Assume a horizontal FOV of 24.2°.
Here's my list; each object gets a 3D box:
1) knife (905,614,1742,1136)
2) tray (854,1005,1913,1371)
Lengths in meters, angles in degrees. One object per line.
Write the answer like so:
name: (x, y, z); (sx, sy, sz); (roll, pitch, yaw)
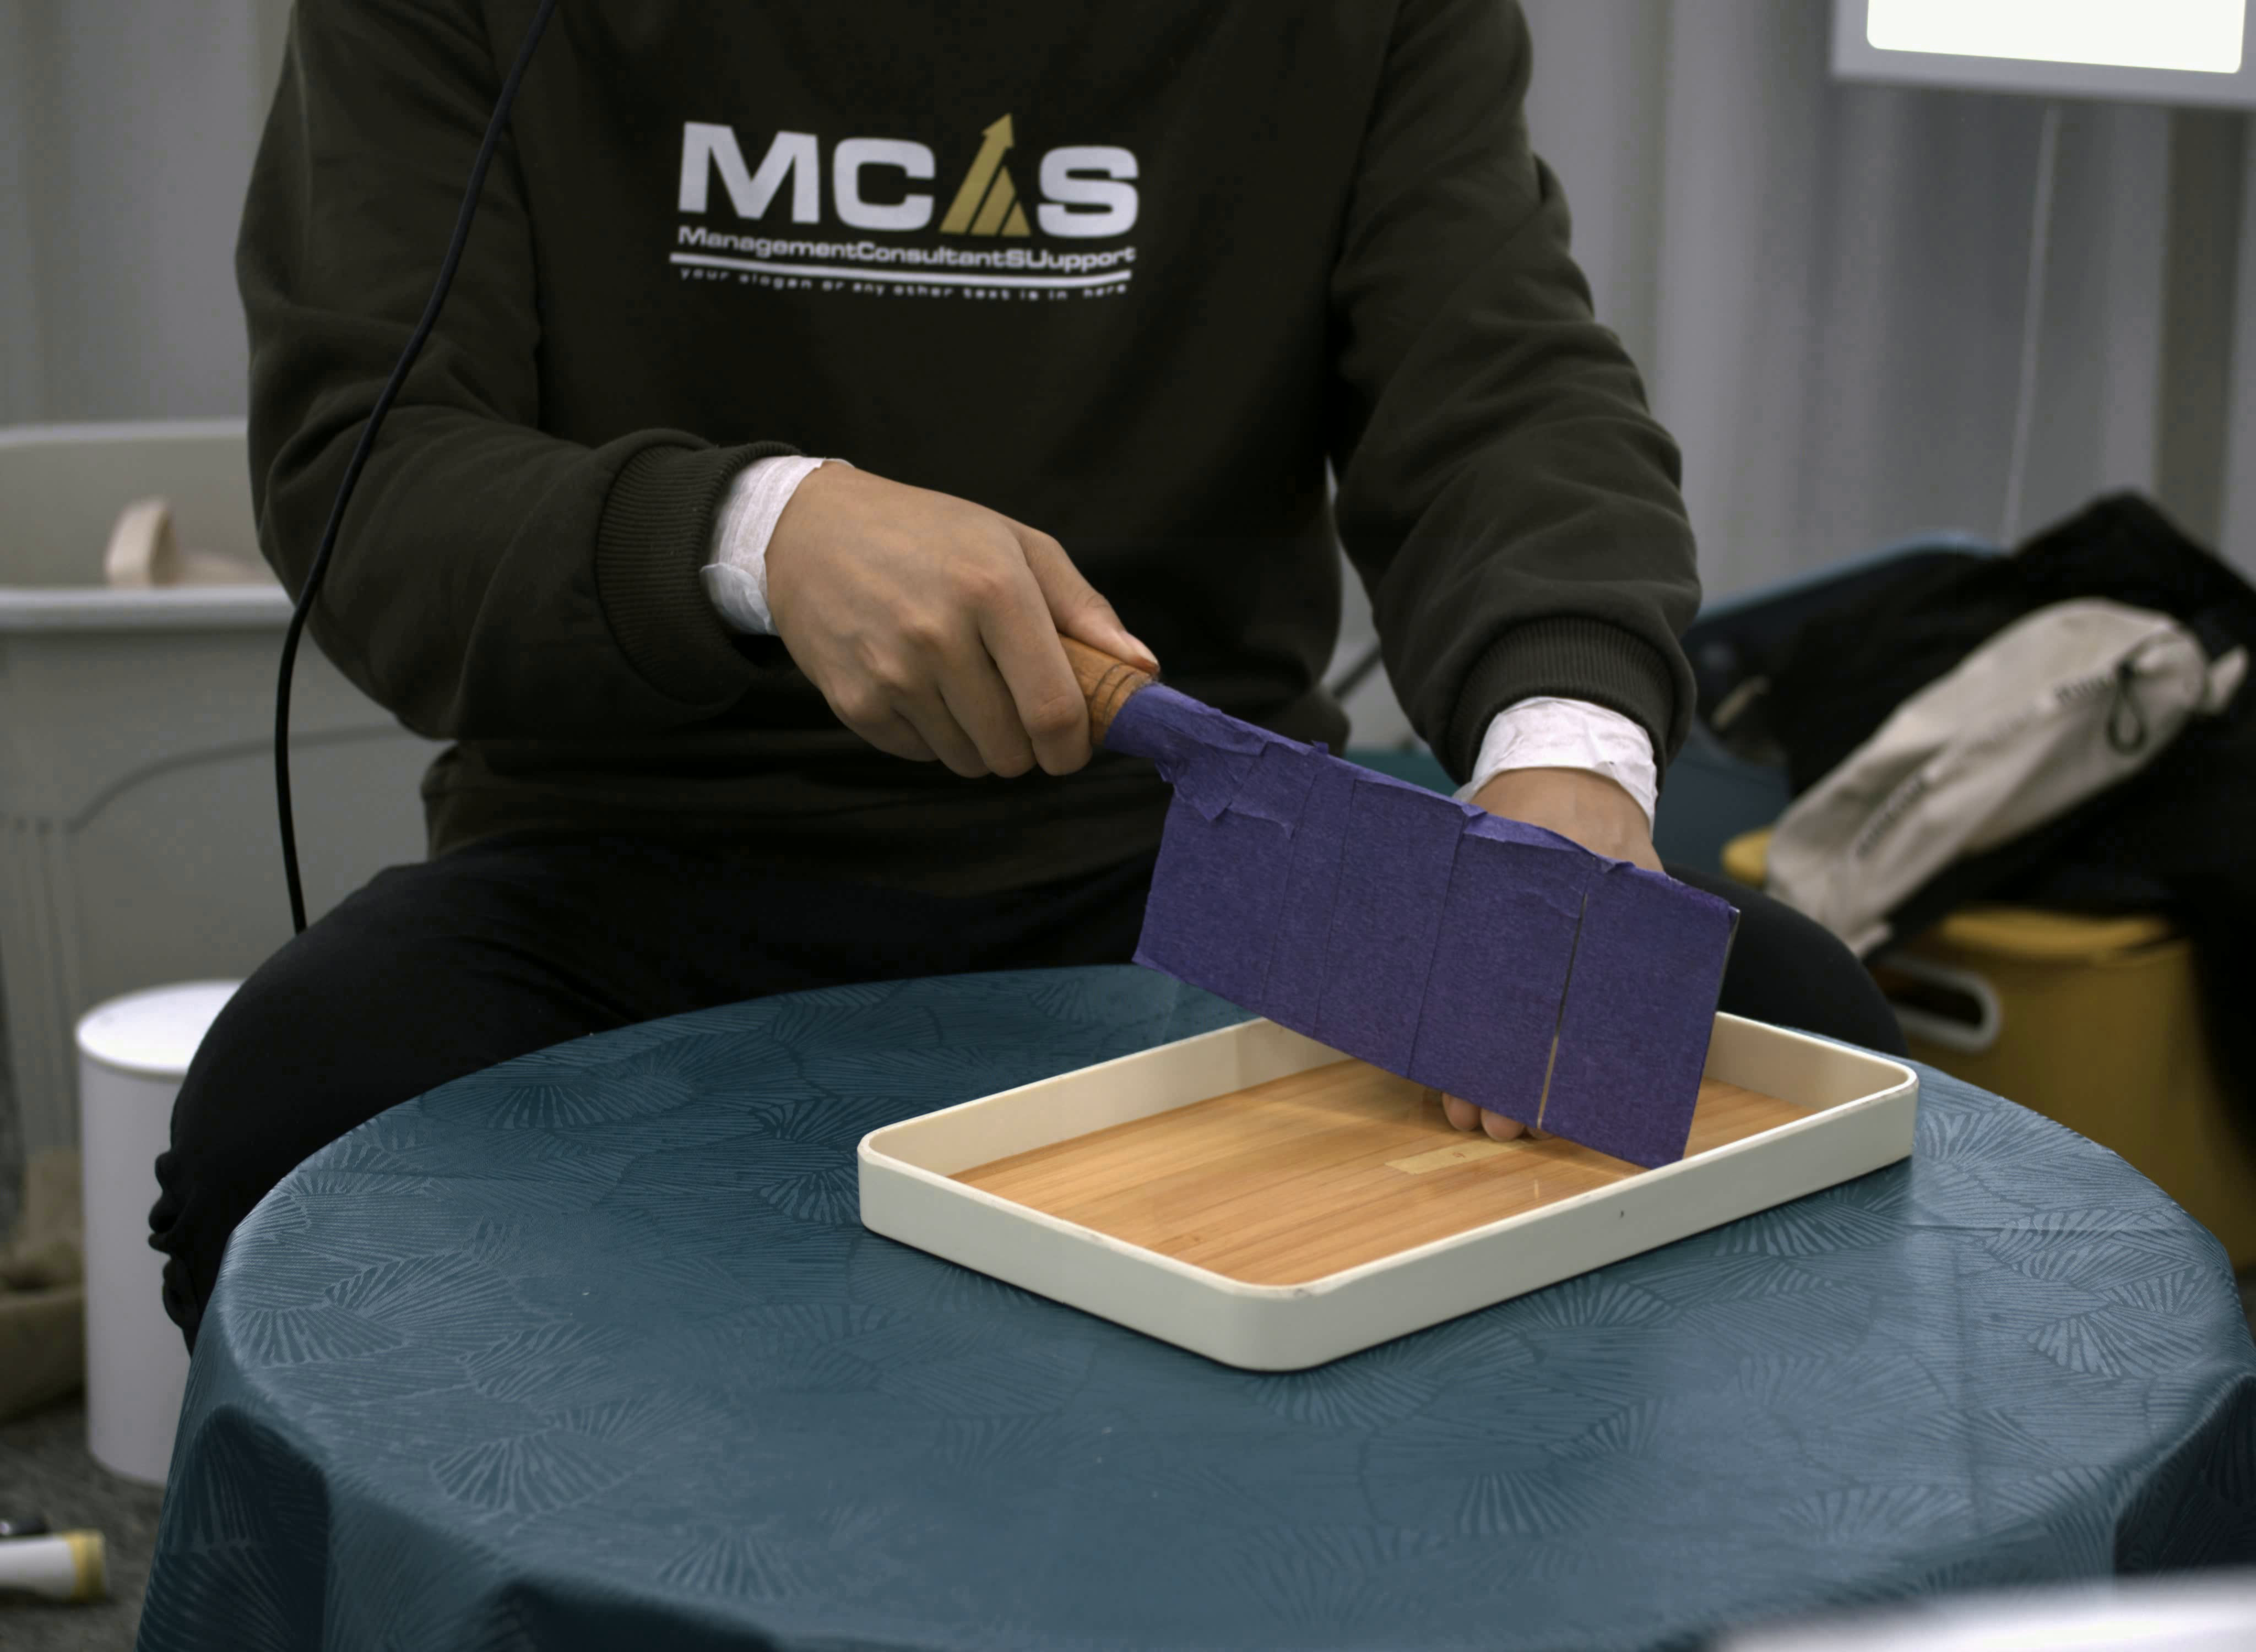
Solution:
knife: (0.051, 0.016, 1.675); (0.311, 0.104, 0.032); (21, 15, 32)
tray: (0.082, 0.098, 1.627); (0.302, 0.027, 0.189); (-14, 21, -42)
